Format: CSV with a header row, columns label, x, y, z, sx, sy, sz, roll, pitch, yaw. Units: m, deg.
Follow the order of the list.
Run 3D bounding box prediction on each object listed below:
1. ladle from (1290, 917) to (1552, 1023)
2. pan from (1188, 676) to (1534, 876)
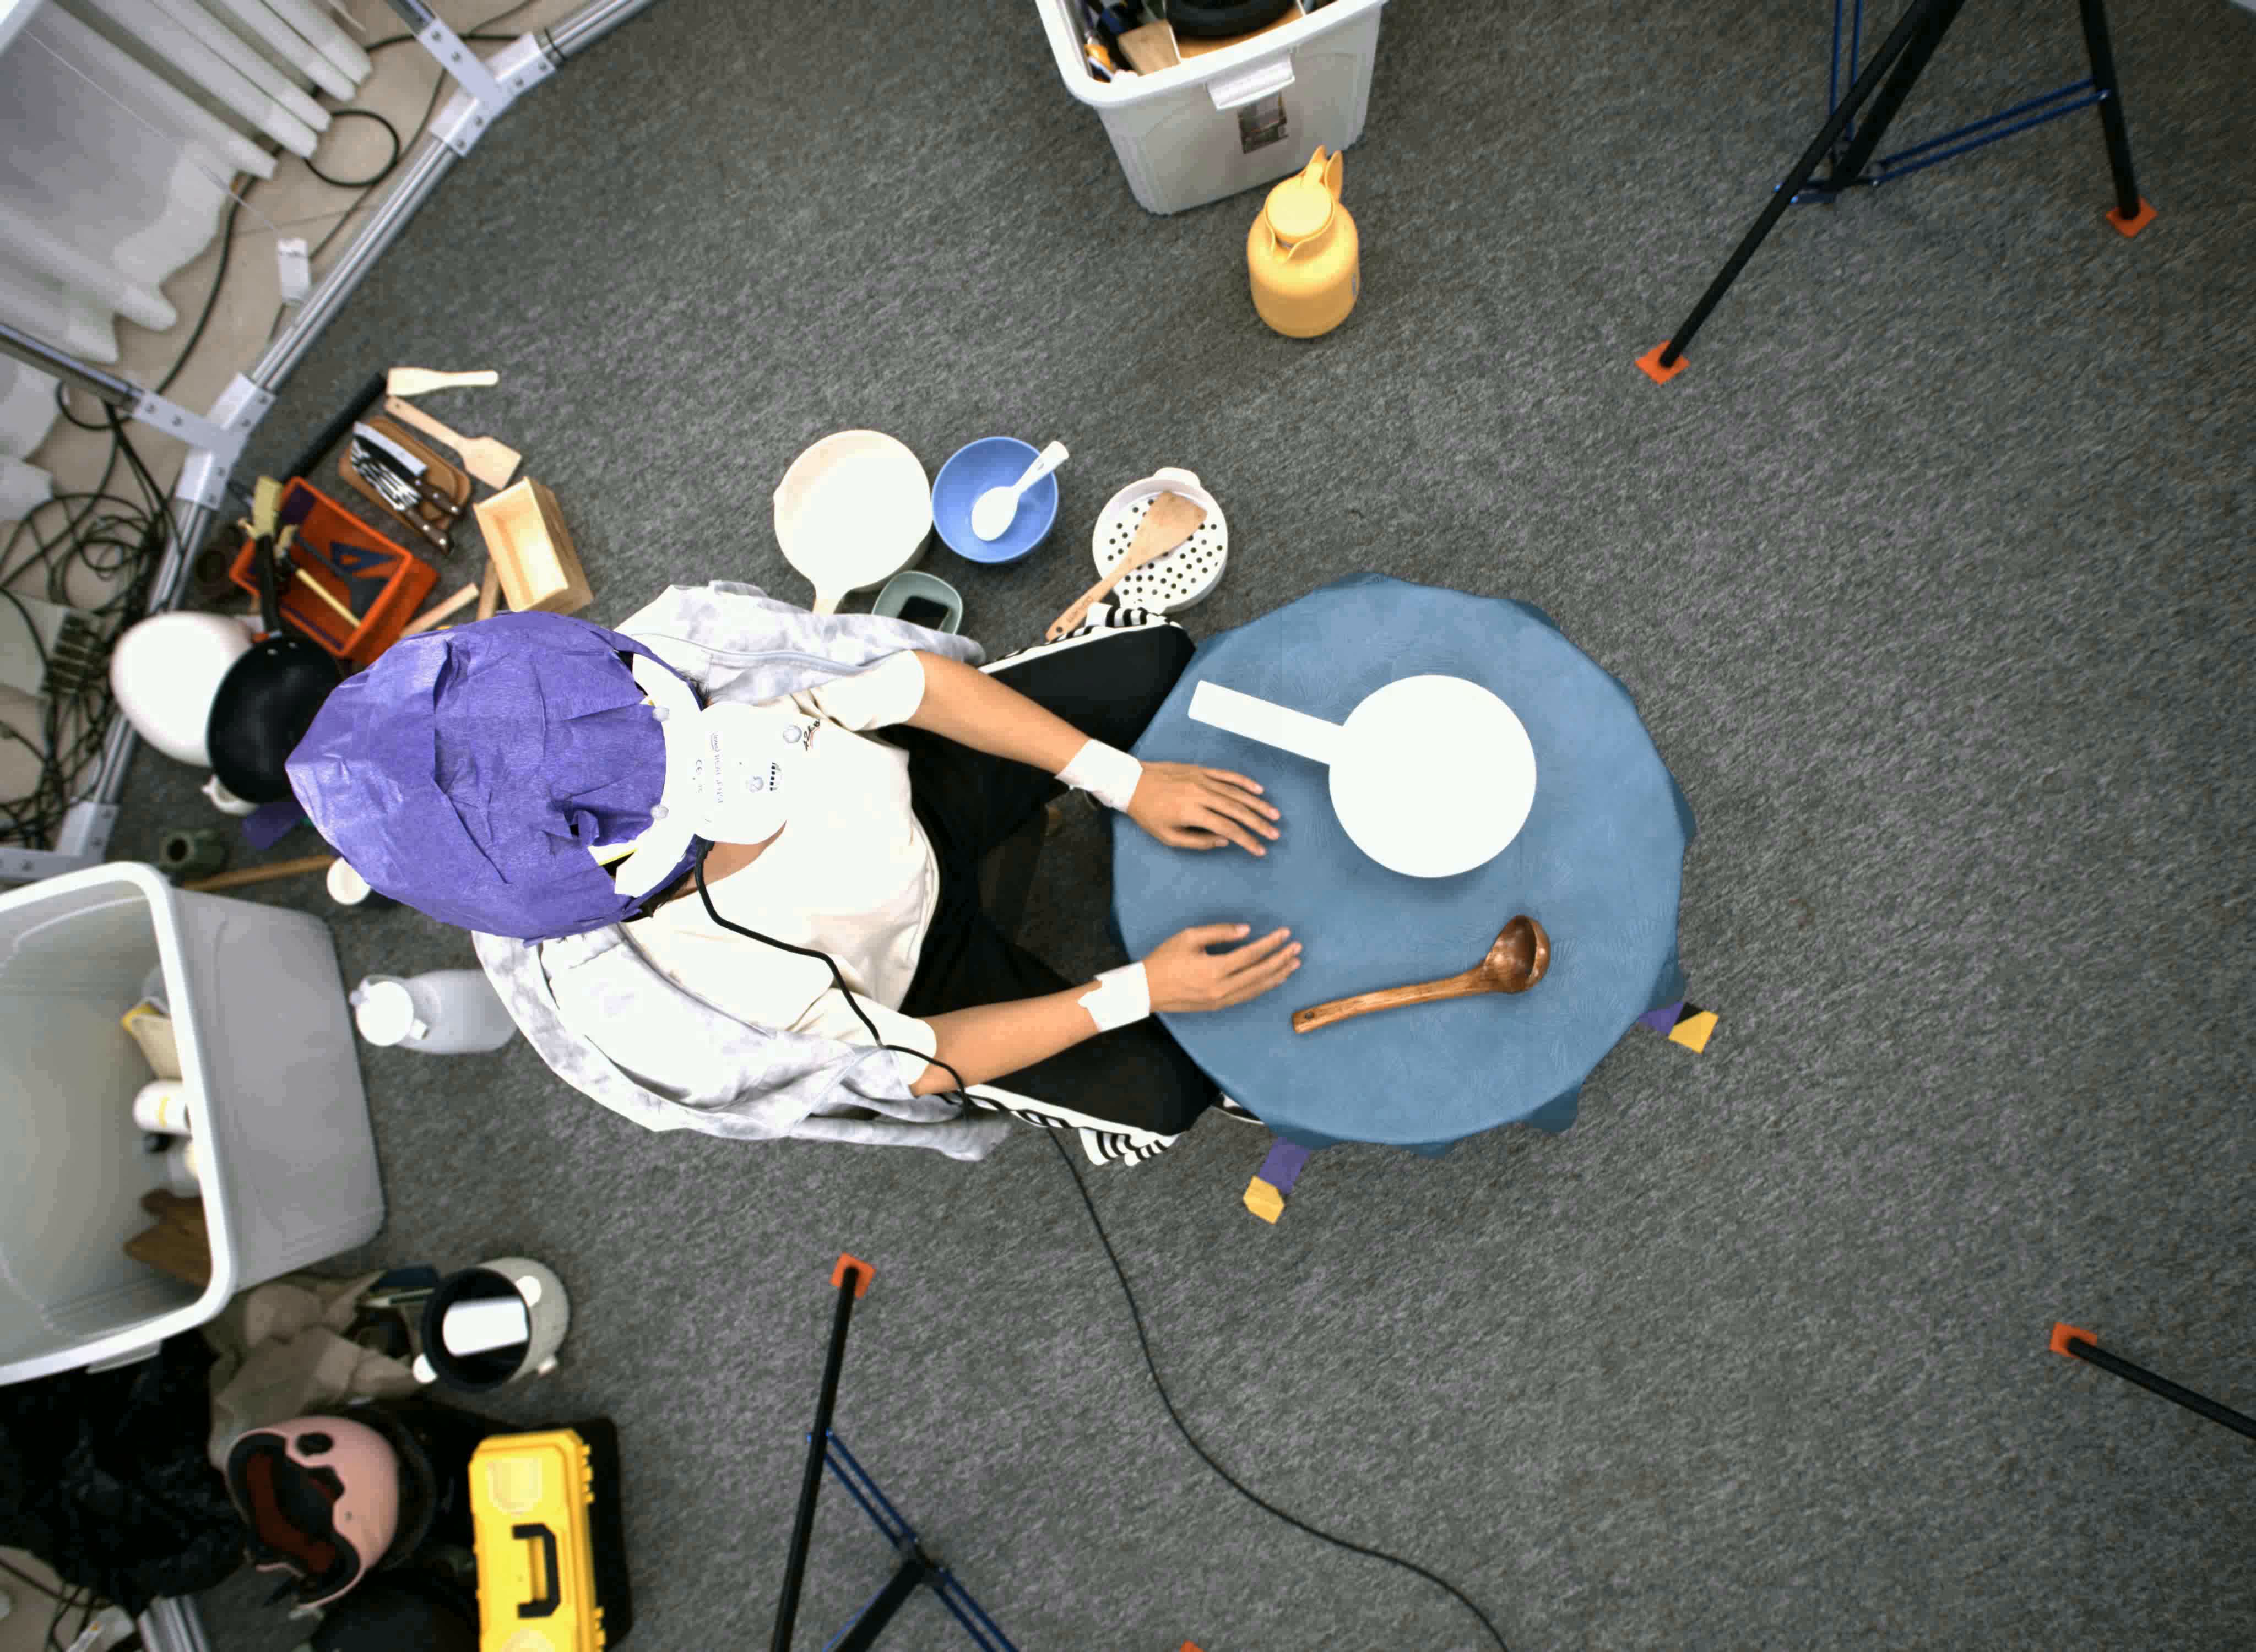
label,x,y,z,sx,sy,sz,roll,pitch,yaw
ladle,0.295,0.151,1.414,0.276,0.080,0.078,-10,127,12
pan,0.237,-0.073,1.424,0.355,0.102,0.201,19,91,12
